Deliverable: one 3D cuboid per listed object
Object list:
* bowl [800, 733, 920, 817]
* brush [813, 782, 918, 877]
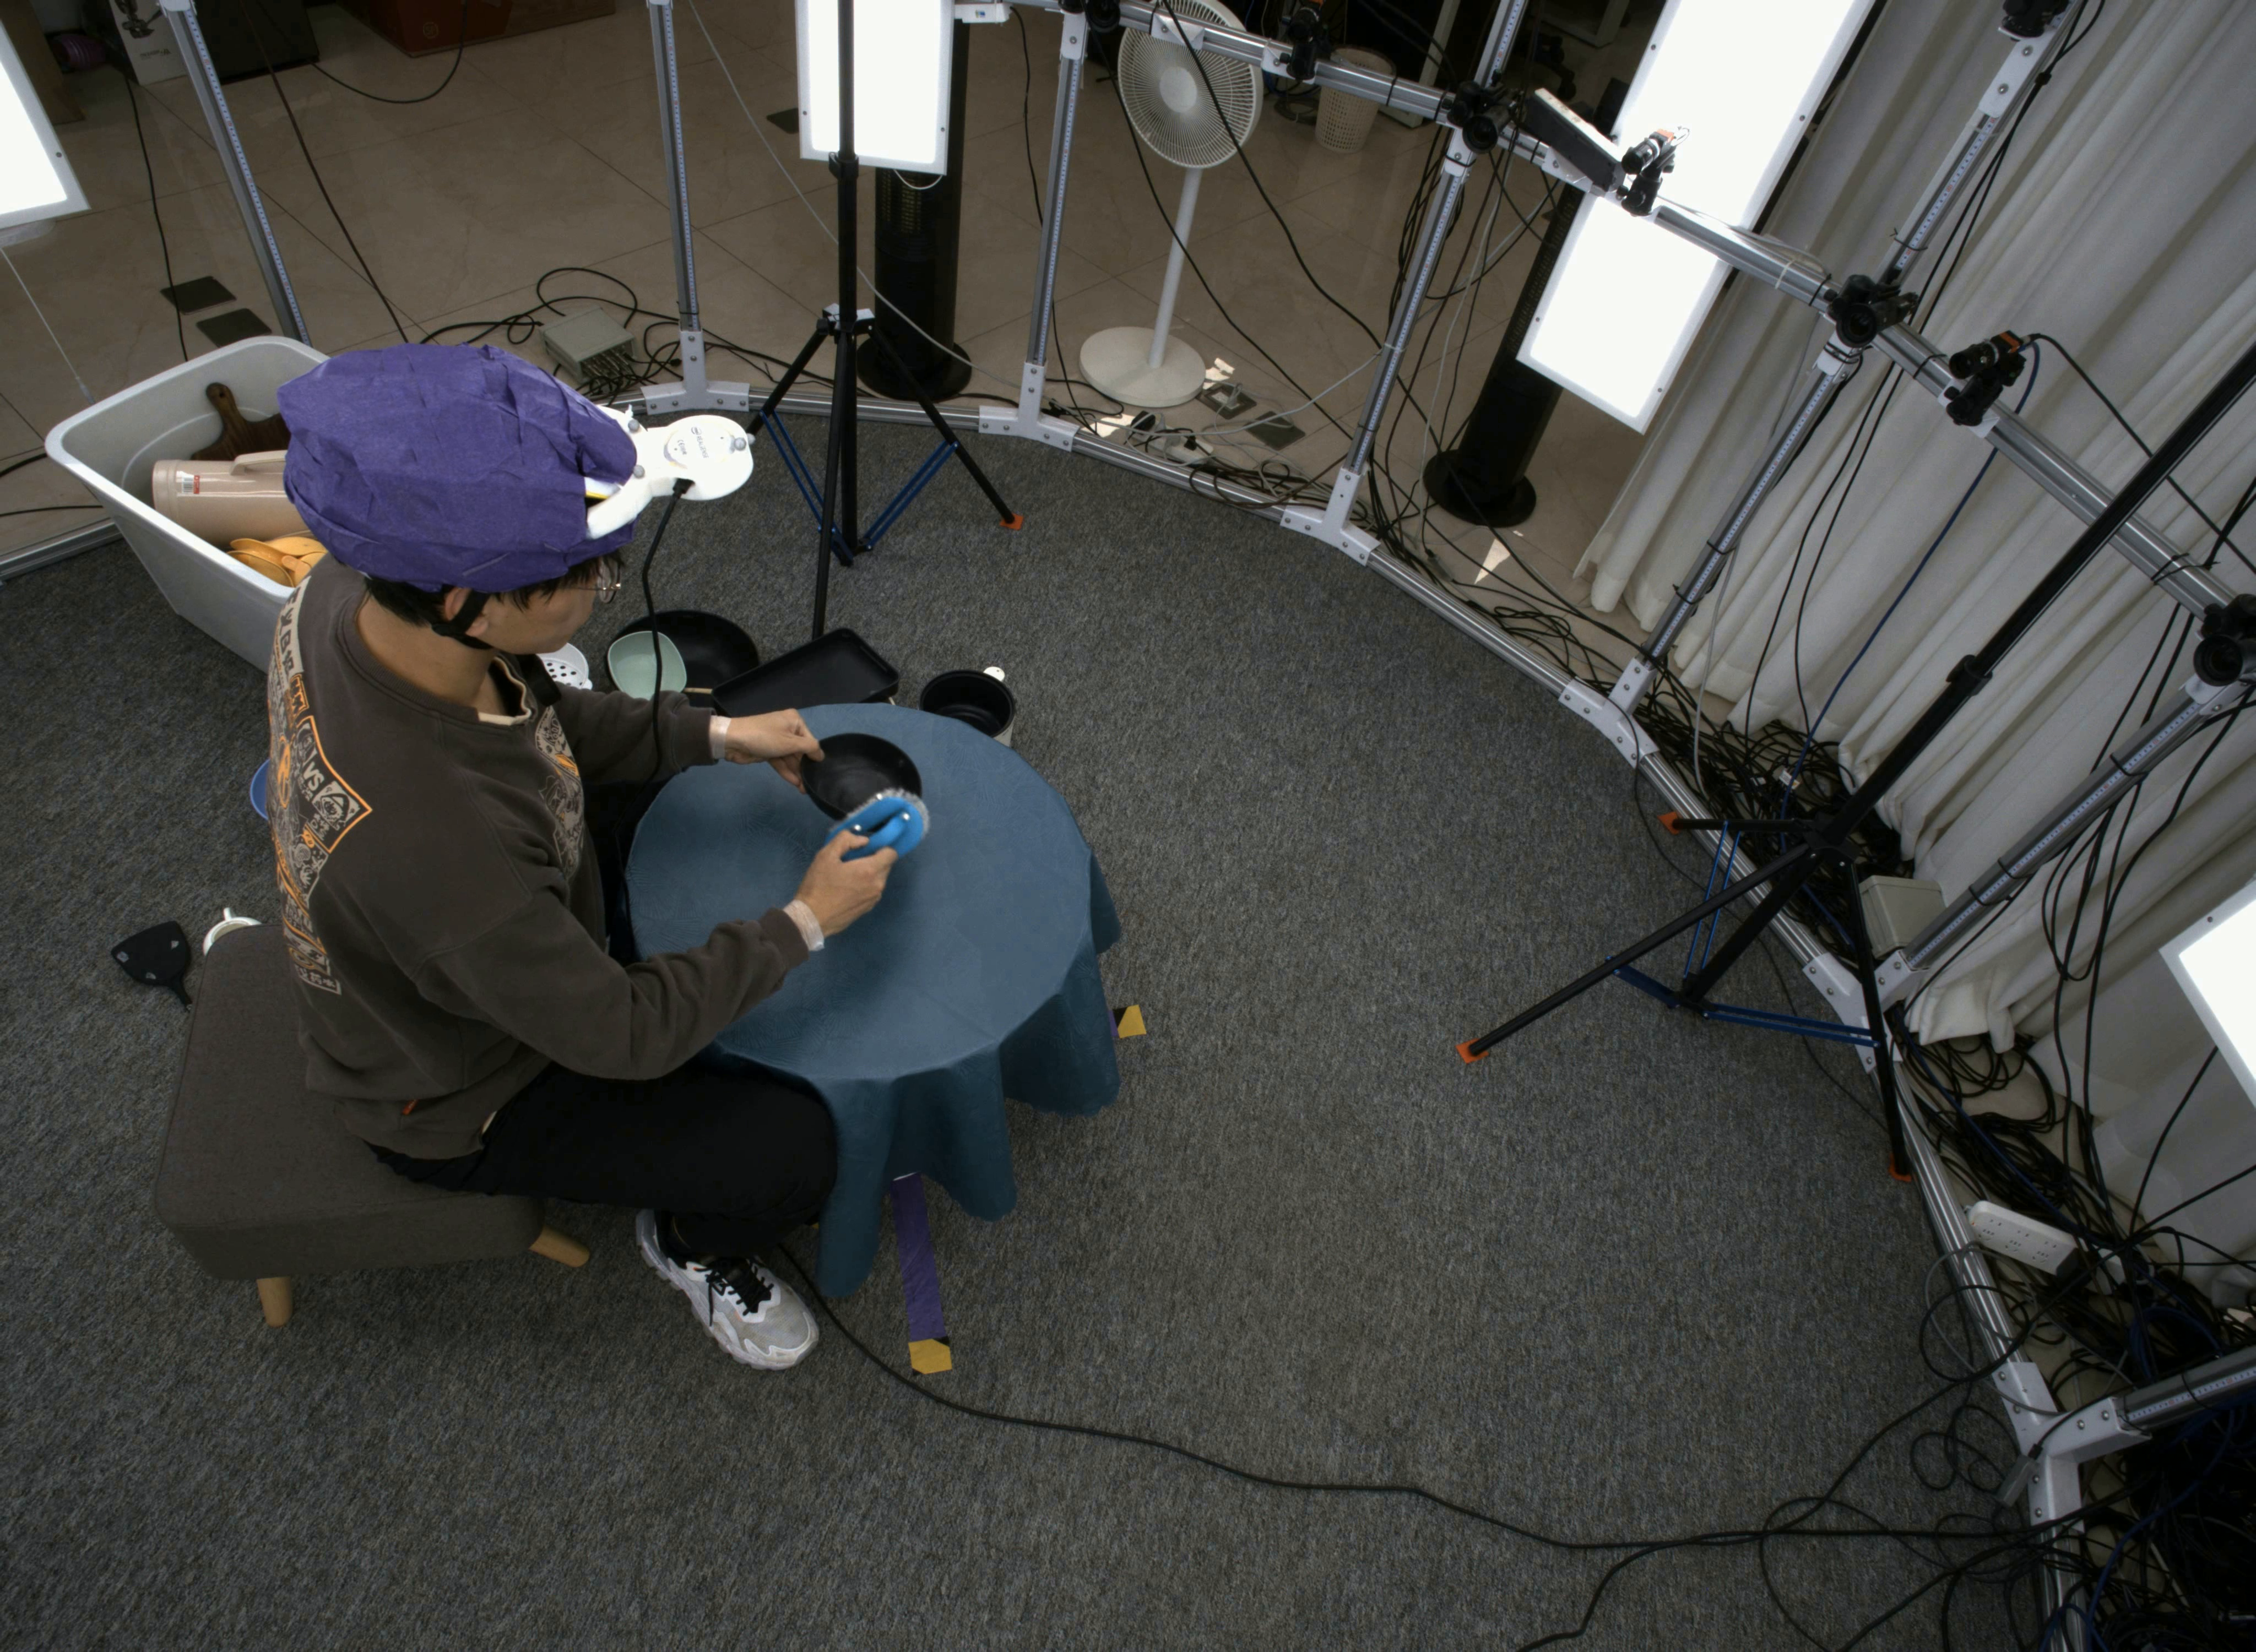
[{"bbox_3d":[-0.344,-0.045,1.670,0.167,0.068,0.137,35,49,15],"label":"bowl"},{"bbox_3d":[-0.319,0.011,1.581,0.140,0.087,0.062,-31,24,14],"label":"brush"}]
